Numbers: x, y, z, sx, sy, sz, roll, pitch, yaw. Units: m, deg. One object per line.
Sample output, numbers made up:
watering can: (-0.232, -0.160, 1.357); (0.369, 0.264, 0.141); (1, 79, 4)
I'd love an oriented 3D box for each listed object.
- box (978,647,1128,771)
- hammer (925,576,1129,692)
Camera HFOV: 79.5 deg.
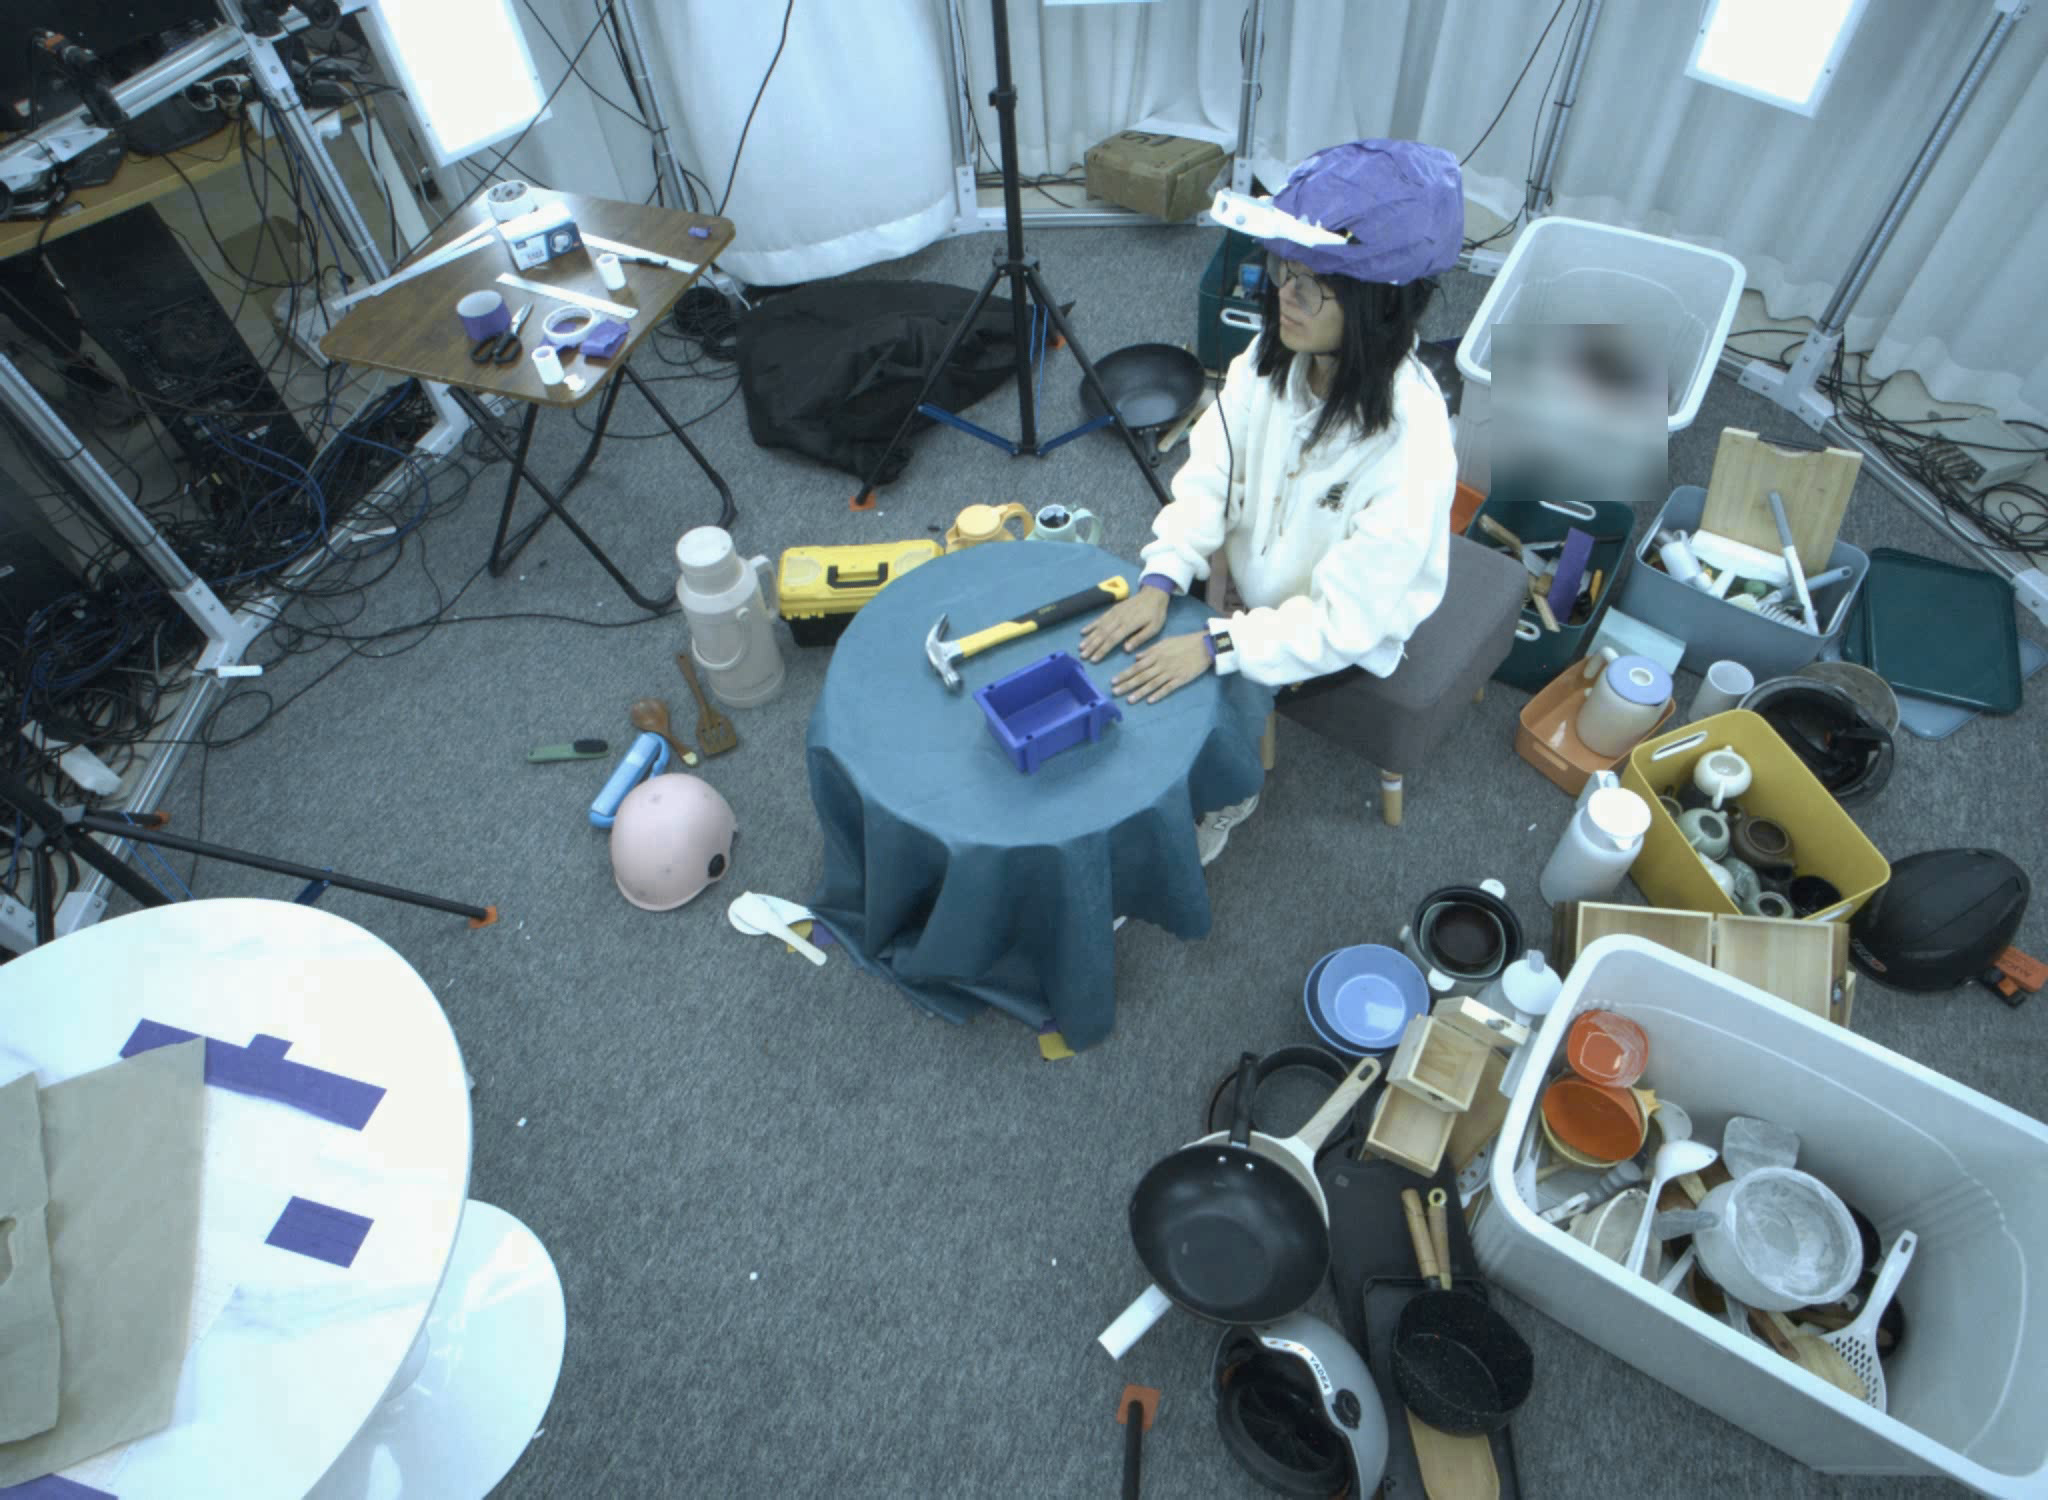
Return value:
box: (0.042, -0.063, 1.781); (0.180, 0.083, 0.122); (-28, 58, -14)
hammer: (0.008, -0.200, 1.908); (0.341, 0.032, 0.129); (-22, 55, -13)
